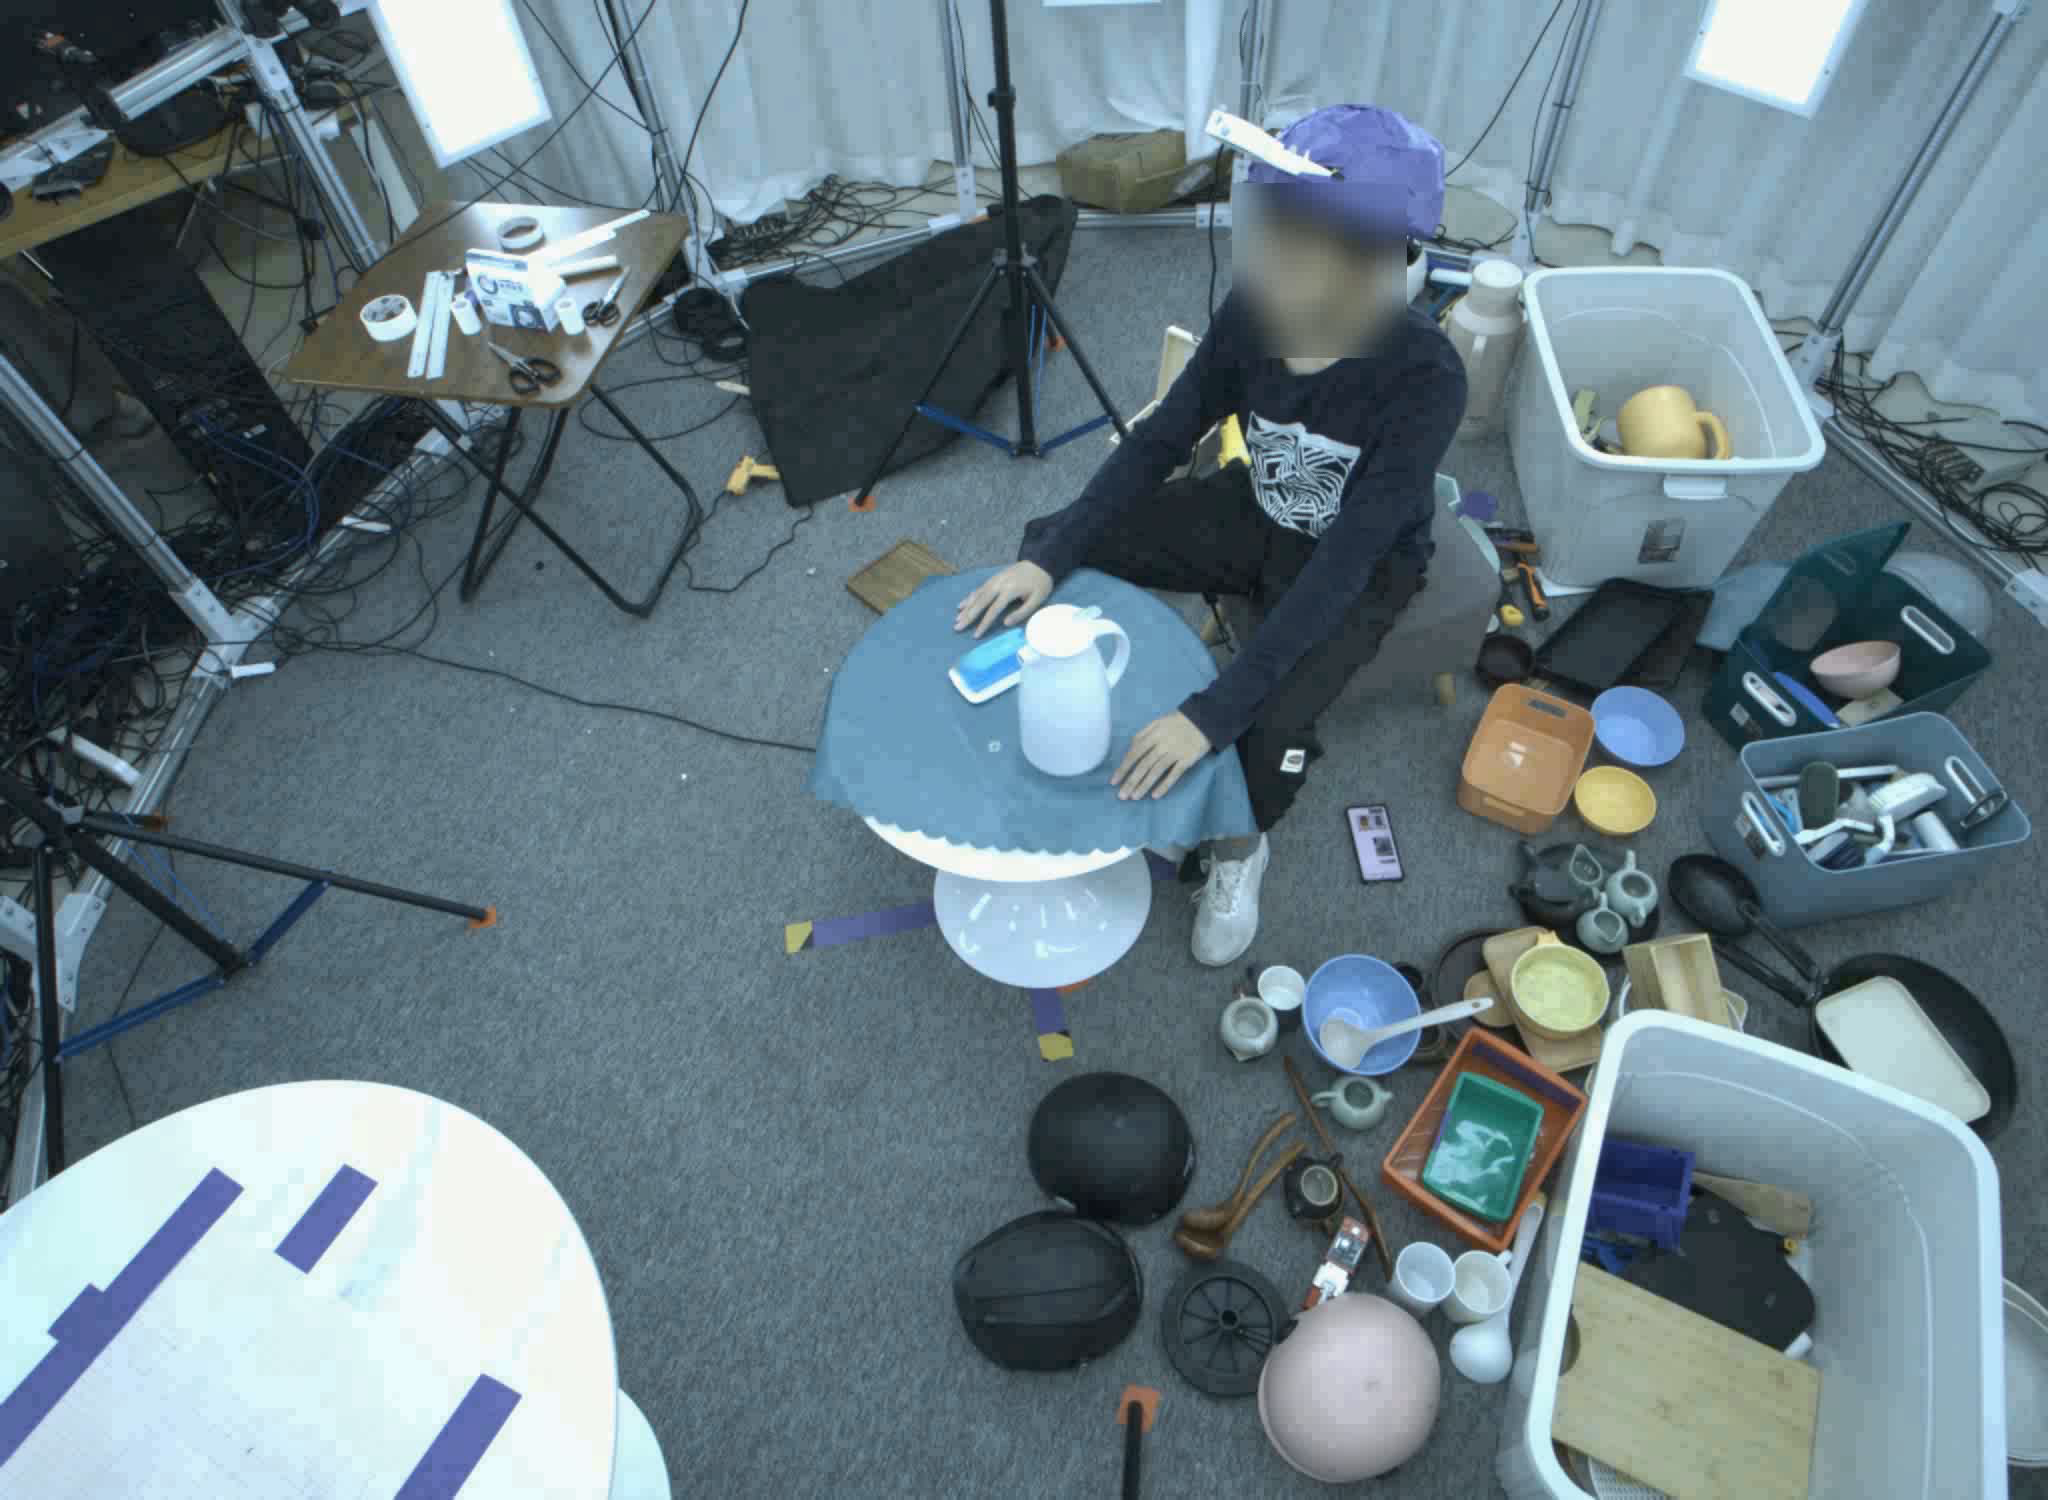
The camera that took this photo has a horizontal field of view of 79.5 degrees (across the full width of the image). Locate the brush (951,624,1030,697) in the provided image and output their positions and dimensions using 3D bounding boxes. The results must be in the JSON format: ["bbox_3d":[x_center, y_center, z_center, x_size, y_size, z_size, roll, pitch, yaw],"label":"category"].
[{"bbox_3d":[-0.036,-0.143,1.846,0.145,0.056,0.082,-29,61,-15],"label":"brush"}]

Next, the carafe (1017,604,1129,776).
[{"bbox_3d":[0.069,-0.097,1.693,0.169,0.251,0.130,-29,57,-17],"label":"carafe"}]
